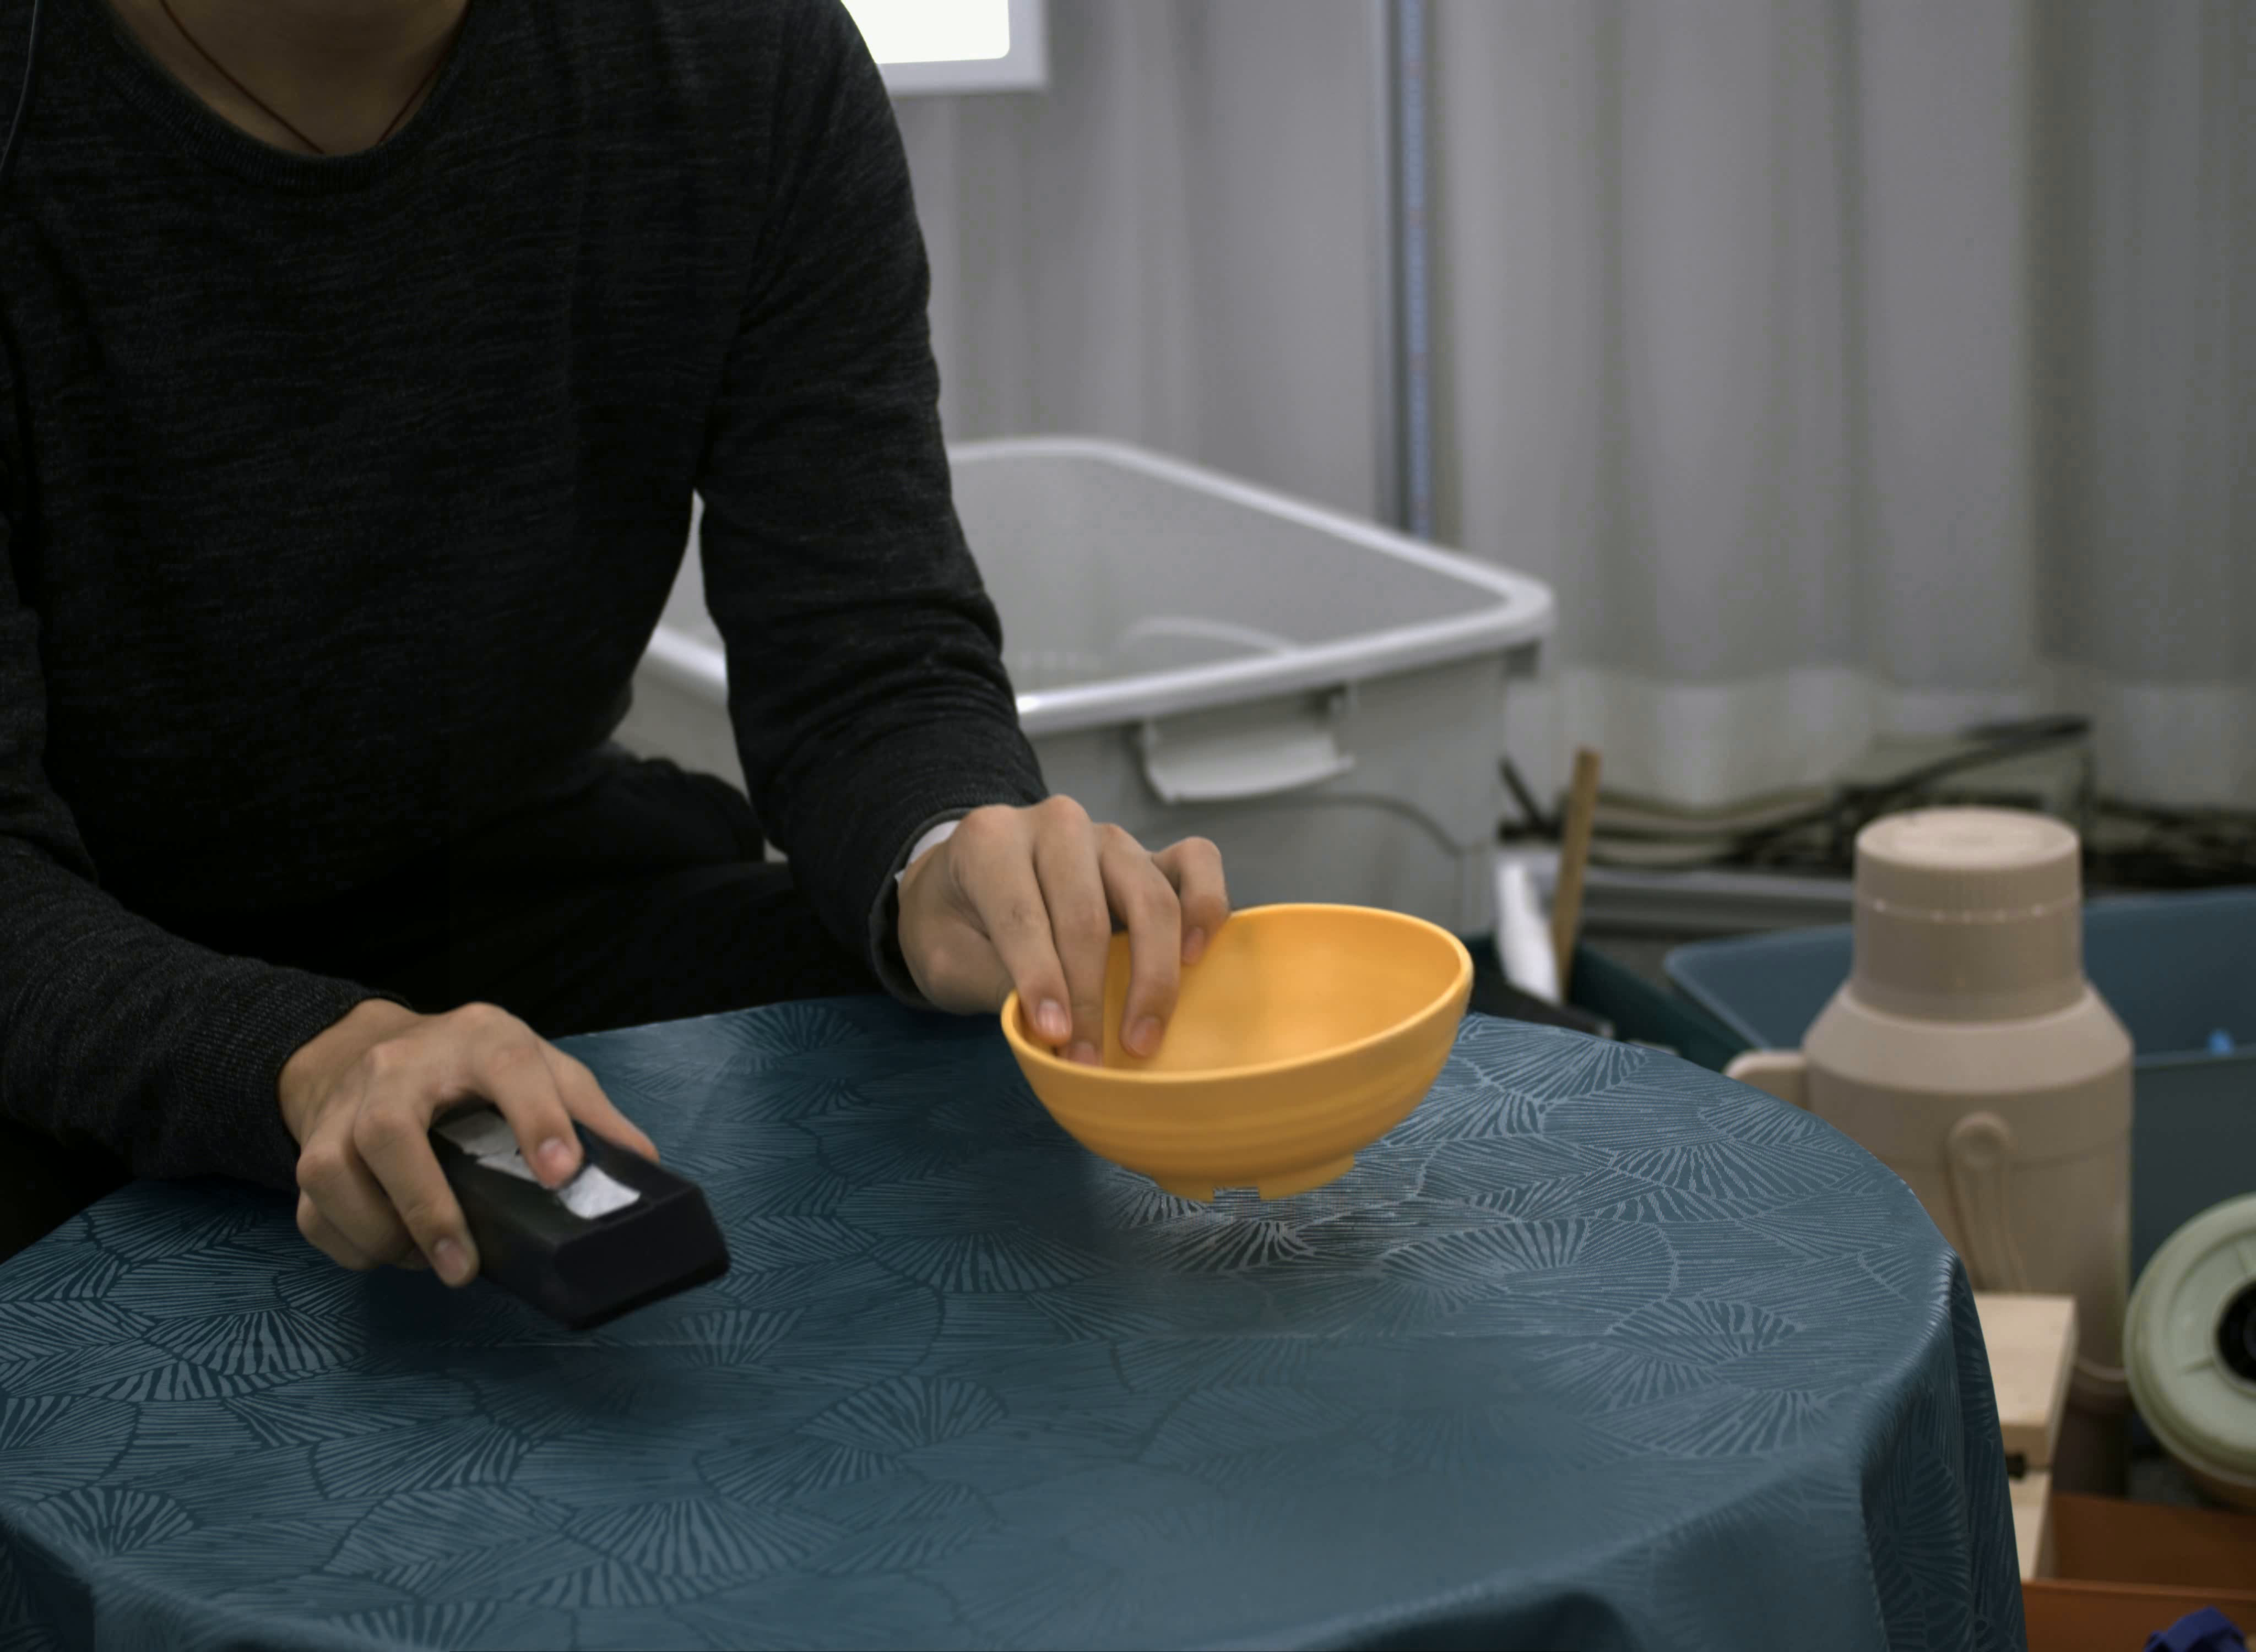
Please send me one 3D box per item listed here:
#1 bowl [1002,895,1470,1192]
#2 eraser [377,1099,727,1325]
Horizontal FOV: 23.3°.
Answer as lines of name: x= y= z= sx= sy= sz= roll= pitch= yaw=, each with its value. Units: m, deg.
bowl: x=0.035 y=0.072 z=1.672 sx=0.145 sy=0.060 sz=0.146 roll=-5 pitch=19 yaw=2
eraser: x=-0.166 y=0.110 z=1.578 sx=0.053 sy=0.030 sz=0.126 roll=-19 pitch=19 yaw=-28
